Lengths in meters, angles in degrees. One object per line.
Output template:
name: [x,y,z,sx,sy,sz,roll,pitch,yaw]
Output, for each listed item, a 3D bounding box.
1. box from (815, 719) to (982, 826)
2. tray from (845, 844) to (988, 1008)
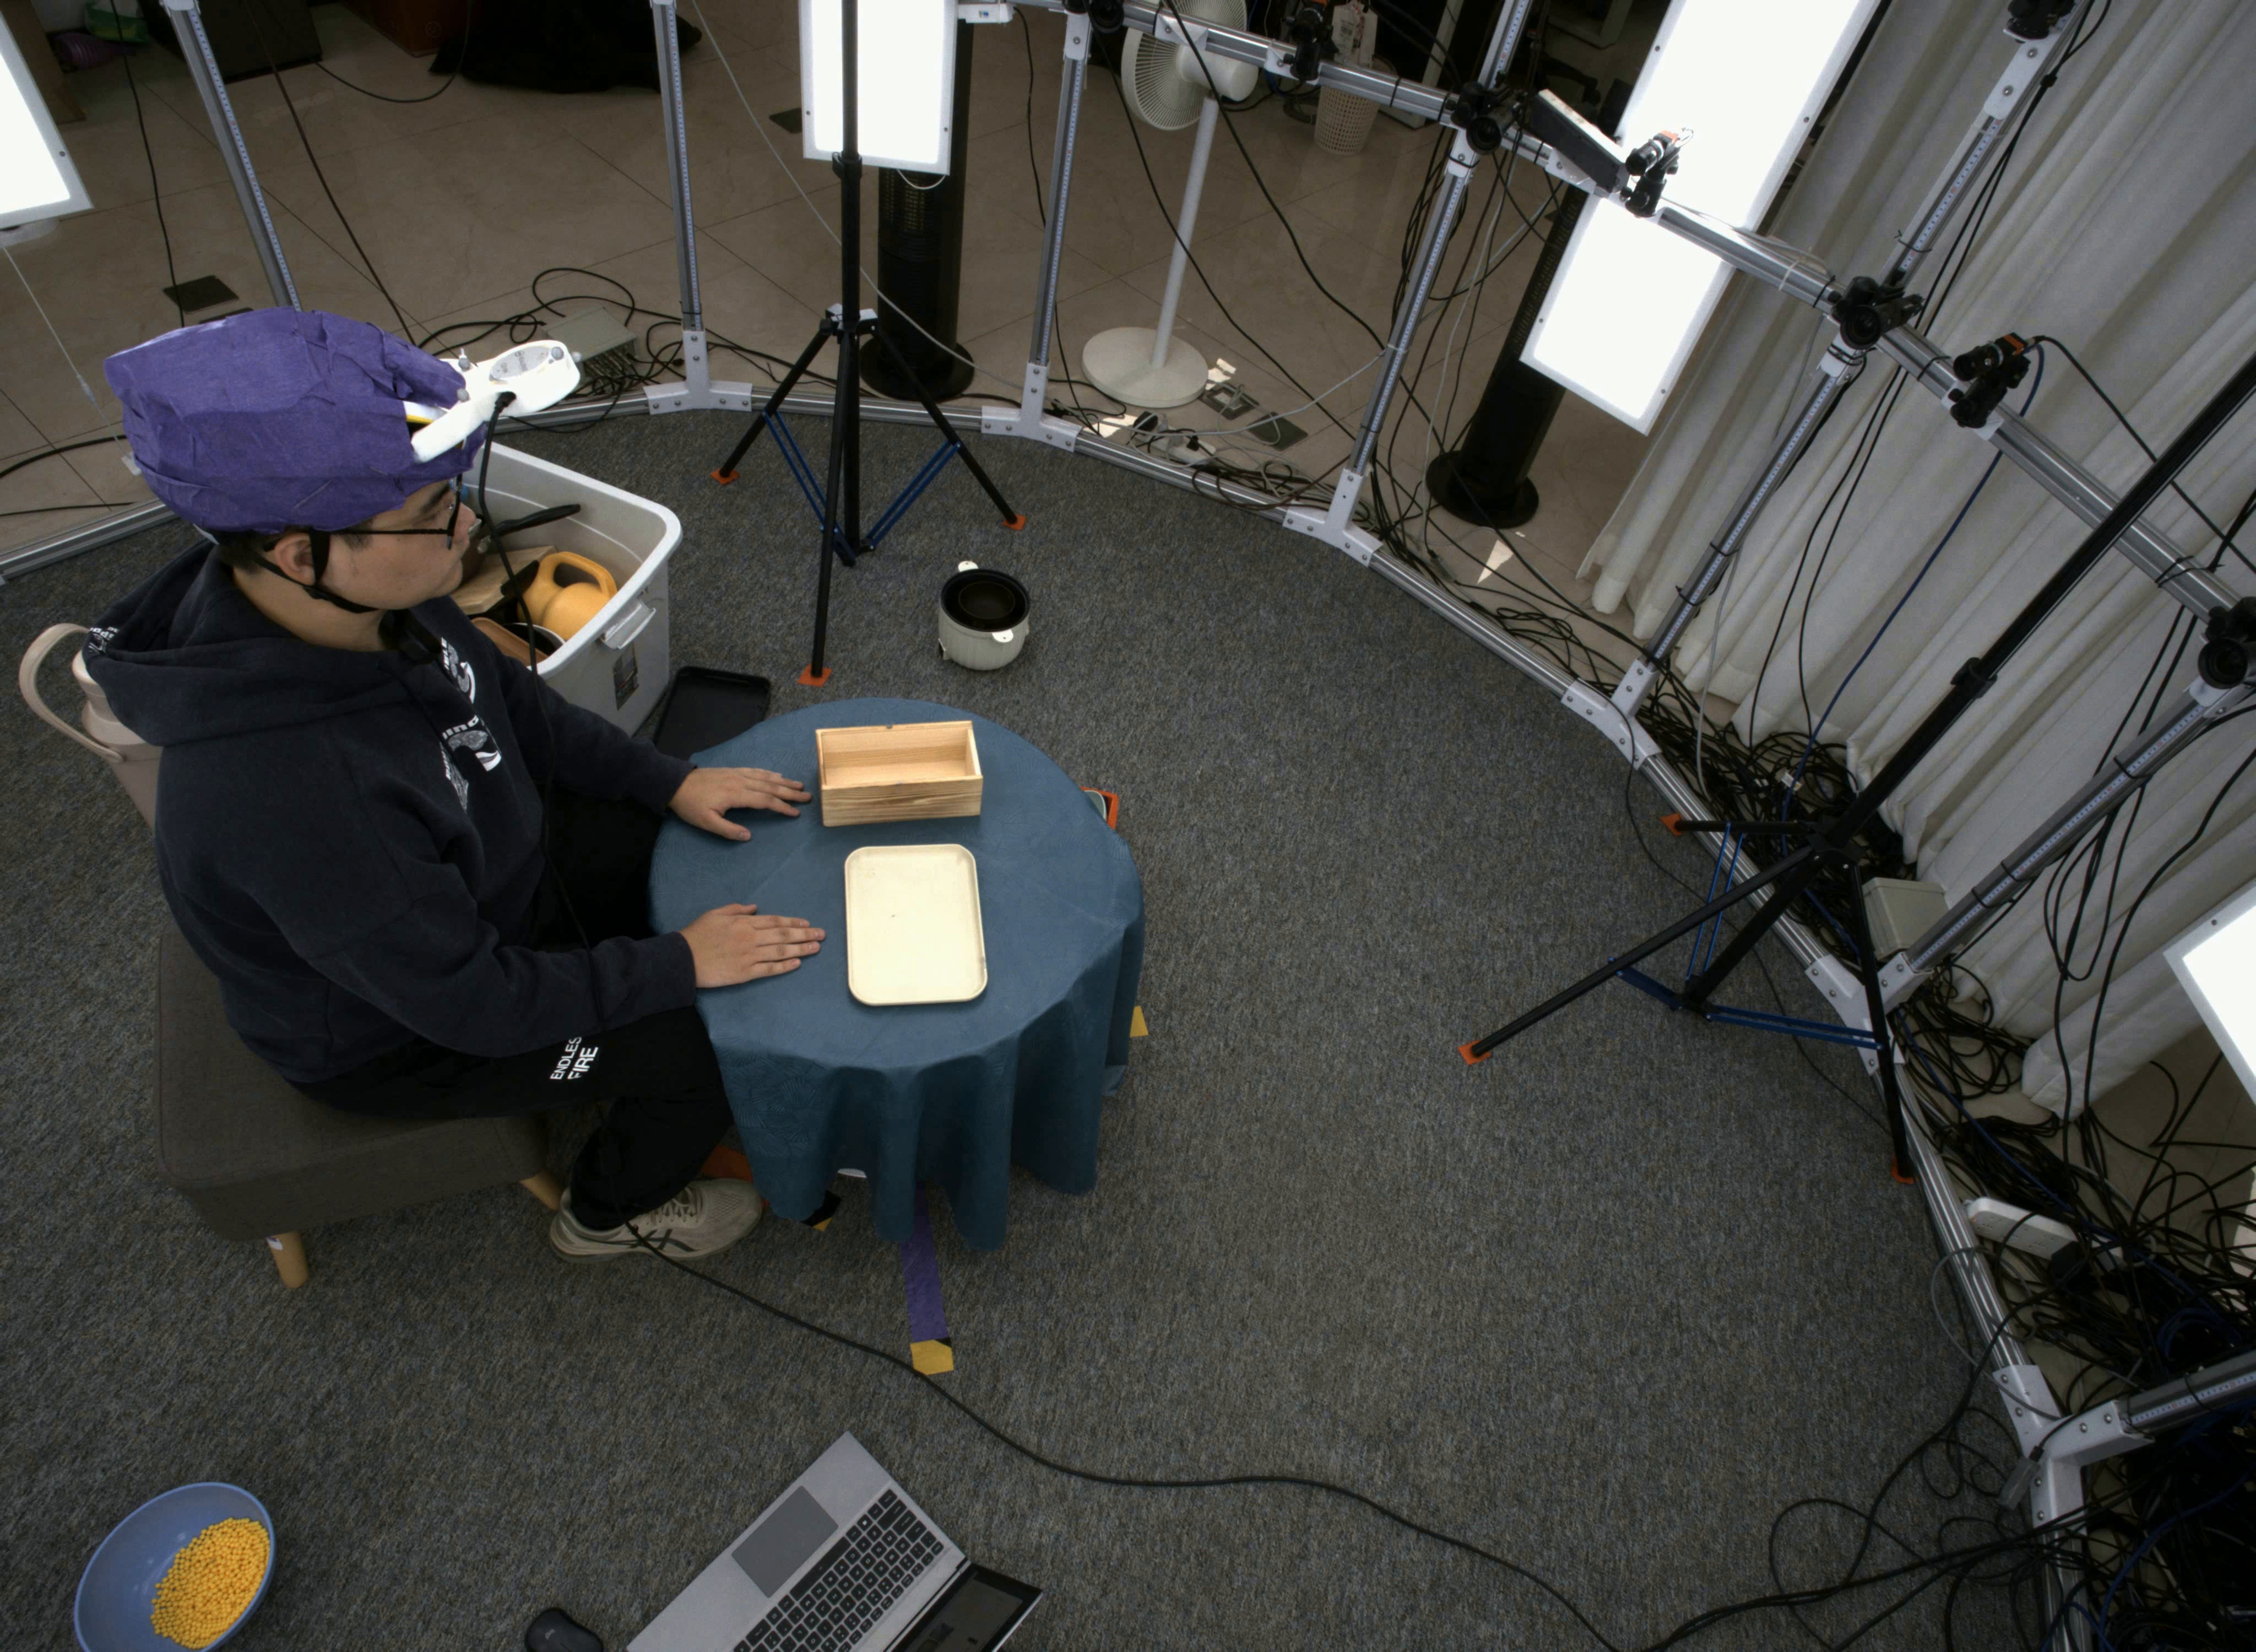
box: [-0.310,-0.074,1.752,0.212,0.082,0.105,-5,54,-17]
tray: [-0.271,0.123,1.655,0.171,0.018,0.234,-1,54,-14]
